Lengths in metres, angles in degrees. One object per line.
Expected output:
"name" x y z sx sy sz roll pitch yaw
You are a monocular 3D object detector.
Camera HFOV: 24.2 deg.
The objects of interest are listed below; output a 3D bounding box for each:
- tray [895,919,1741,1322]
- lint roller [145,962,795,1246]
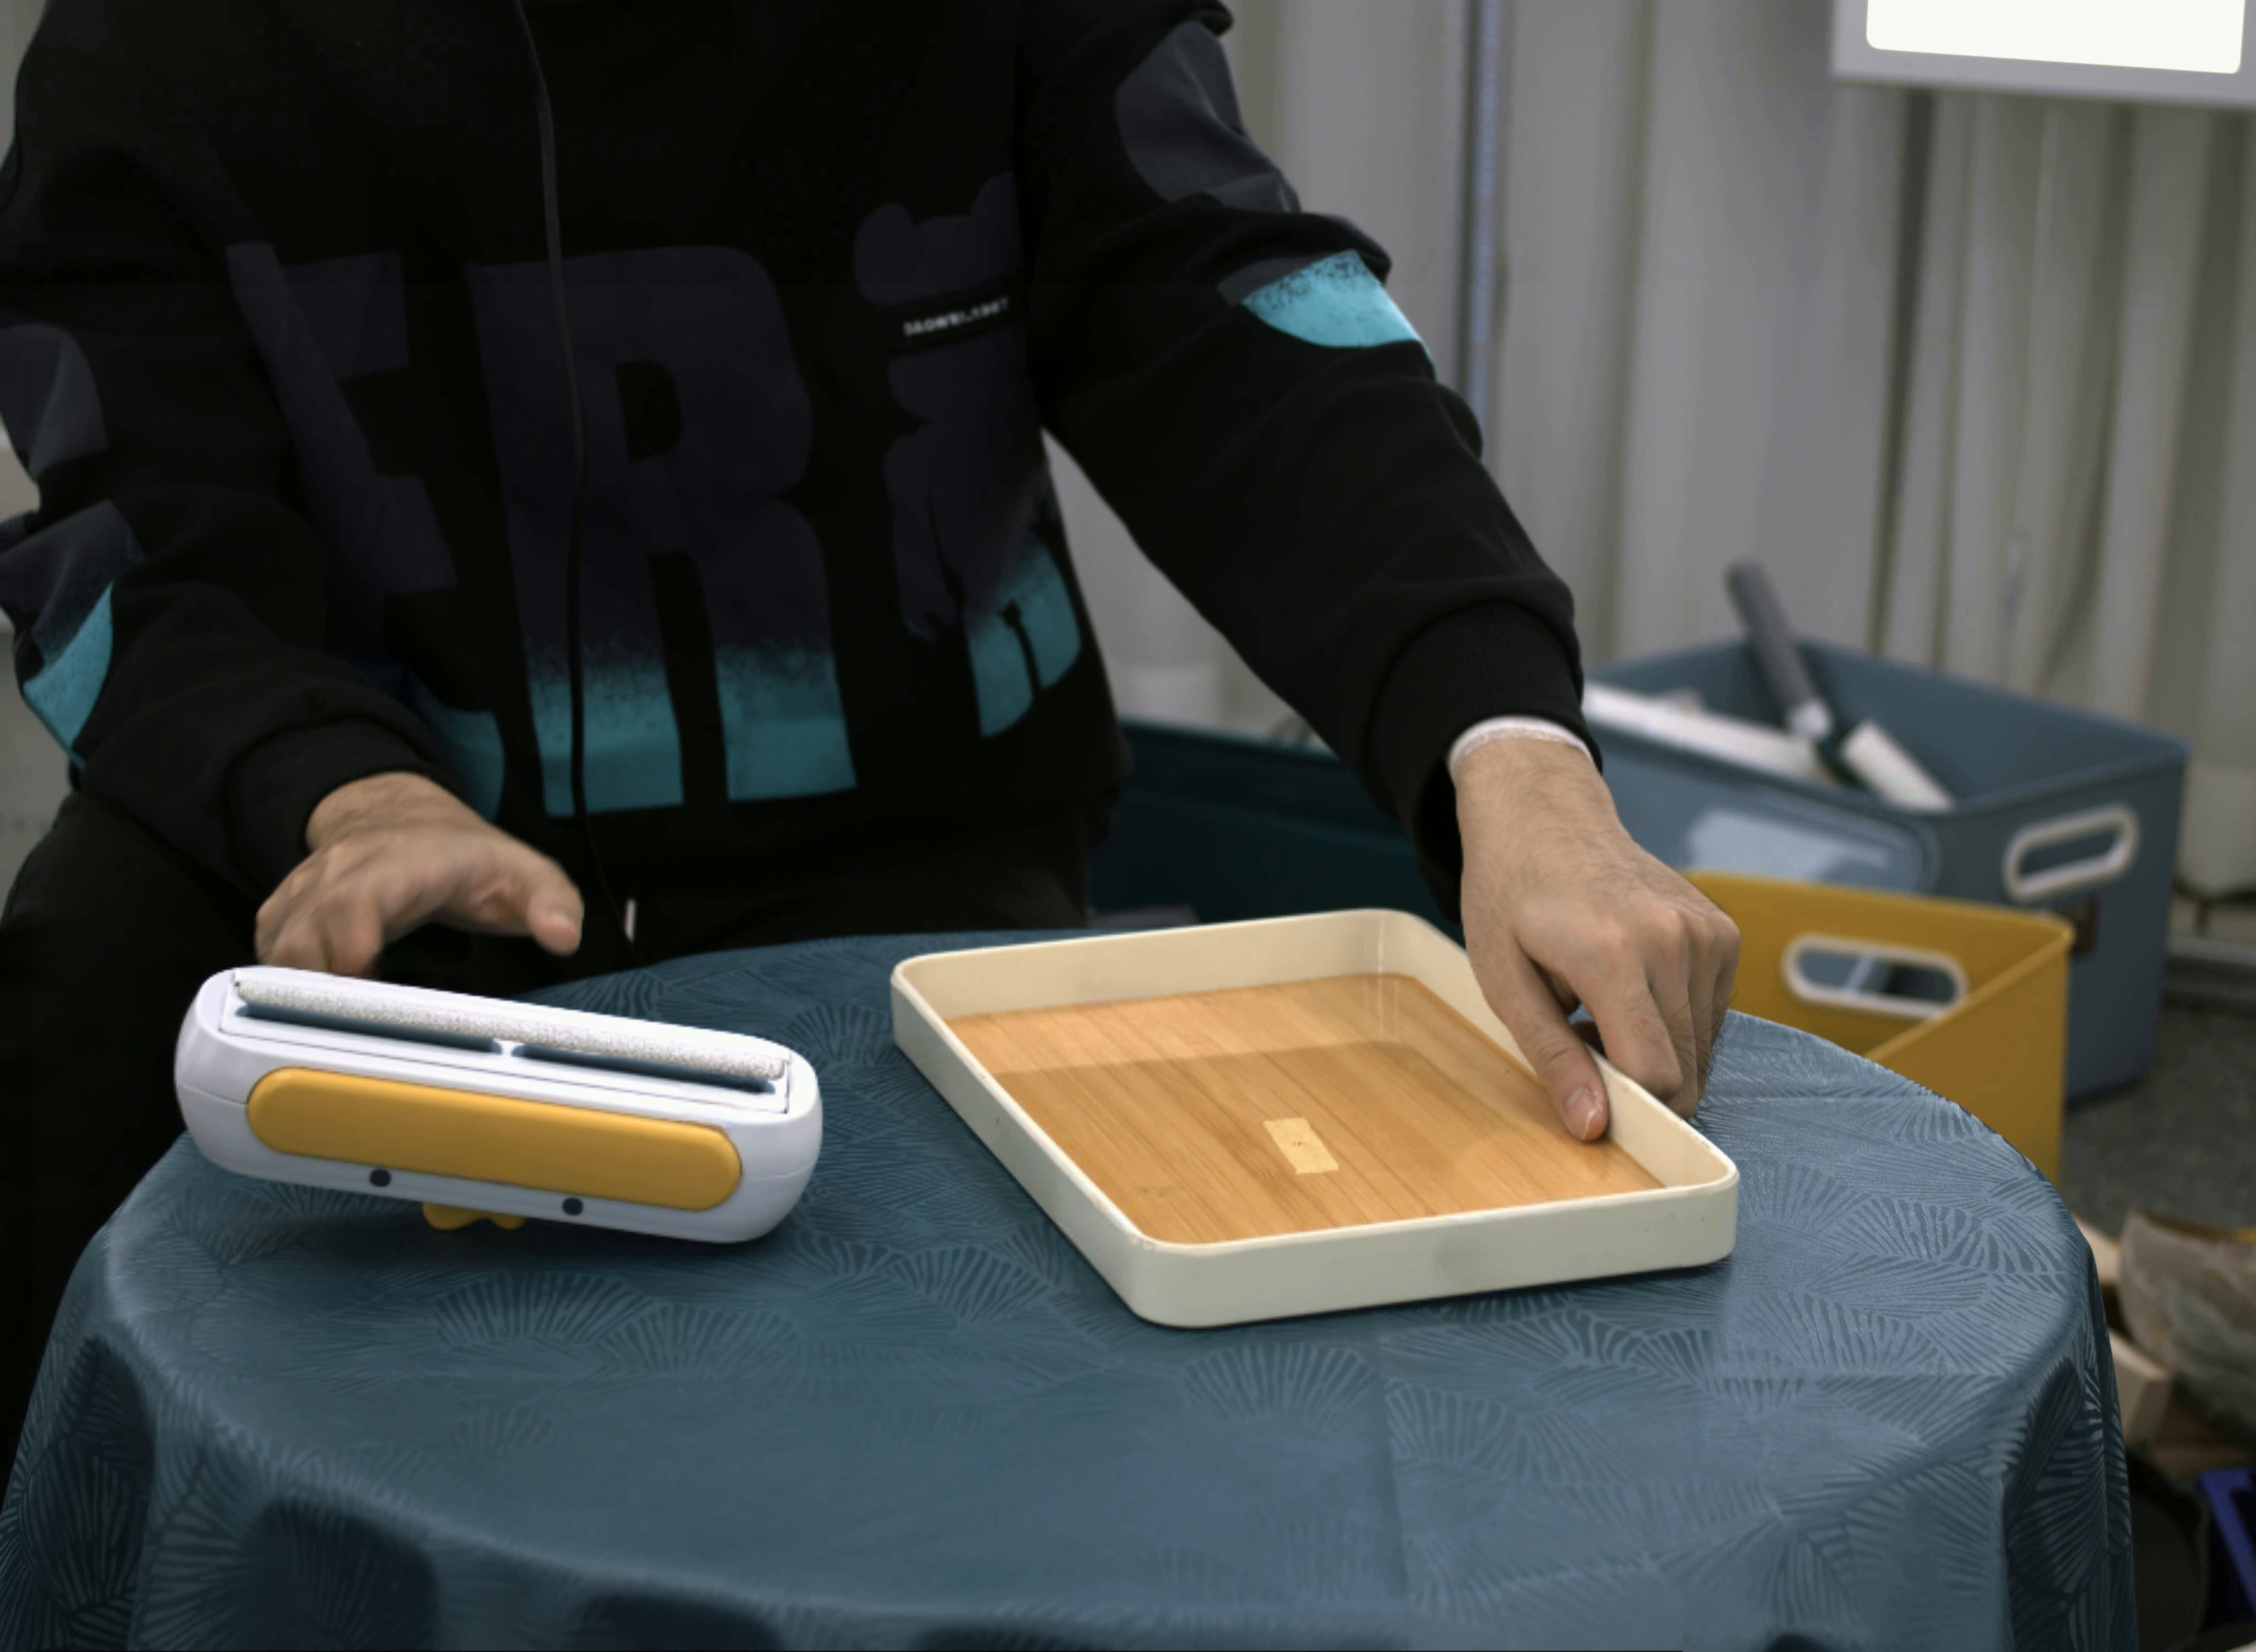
"tray" 0.052 0.088 1.657 0.192 0.027 0.297 -4 16 -17
"lint roller" -0.196 0.075 1.623 0.192 0.075 0.191 5 14 -2
